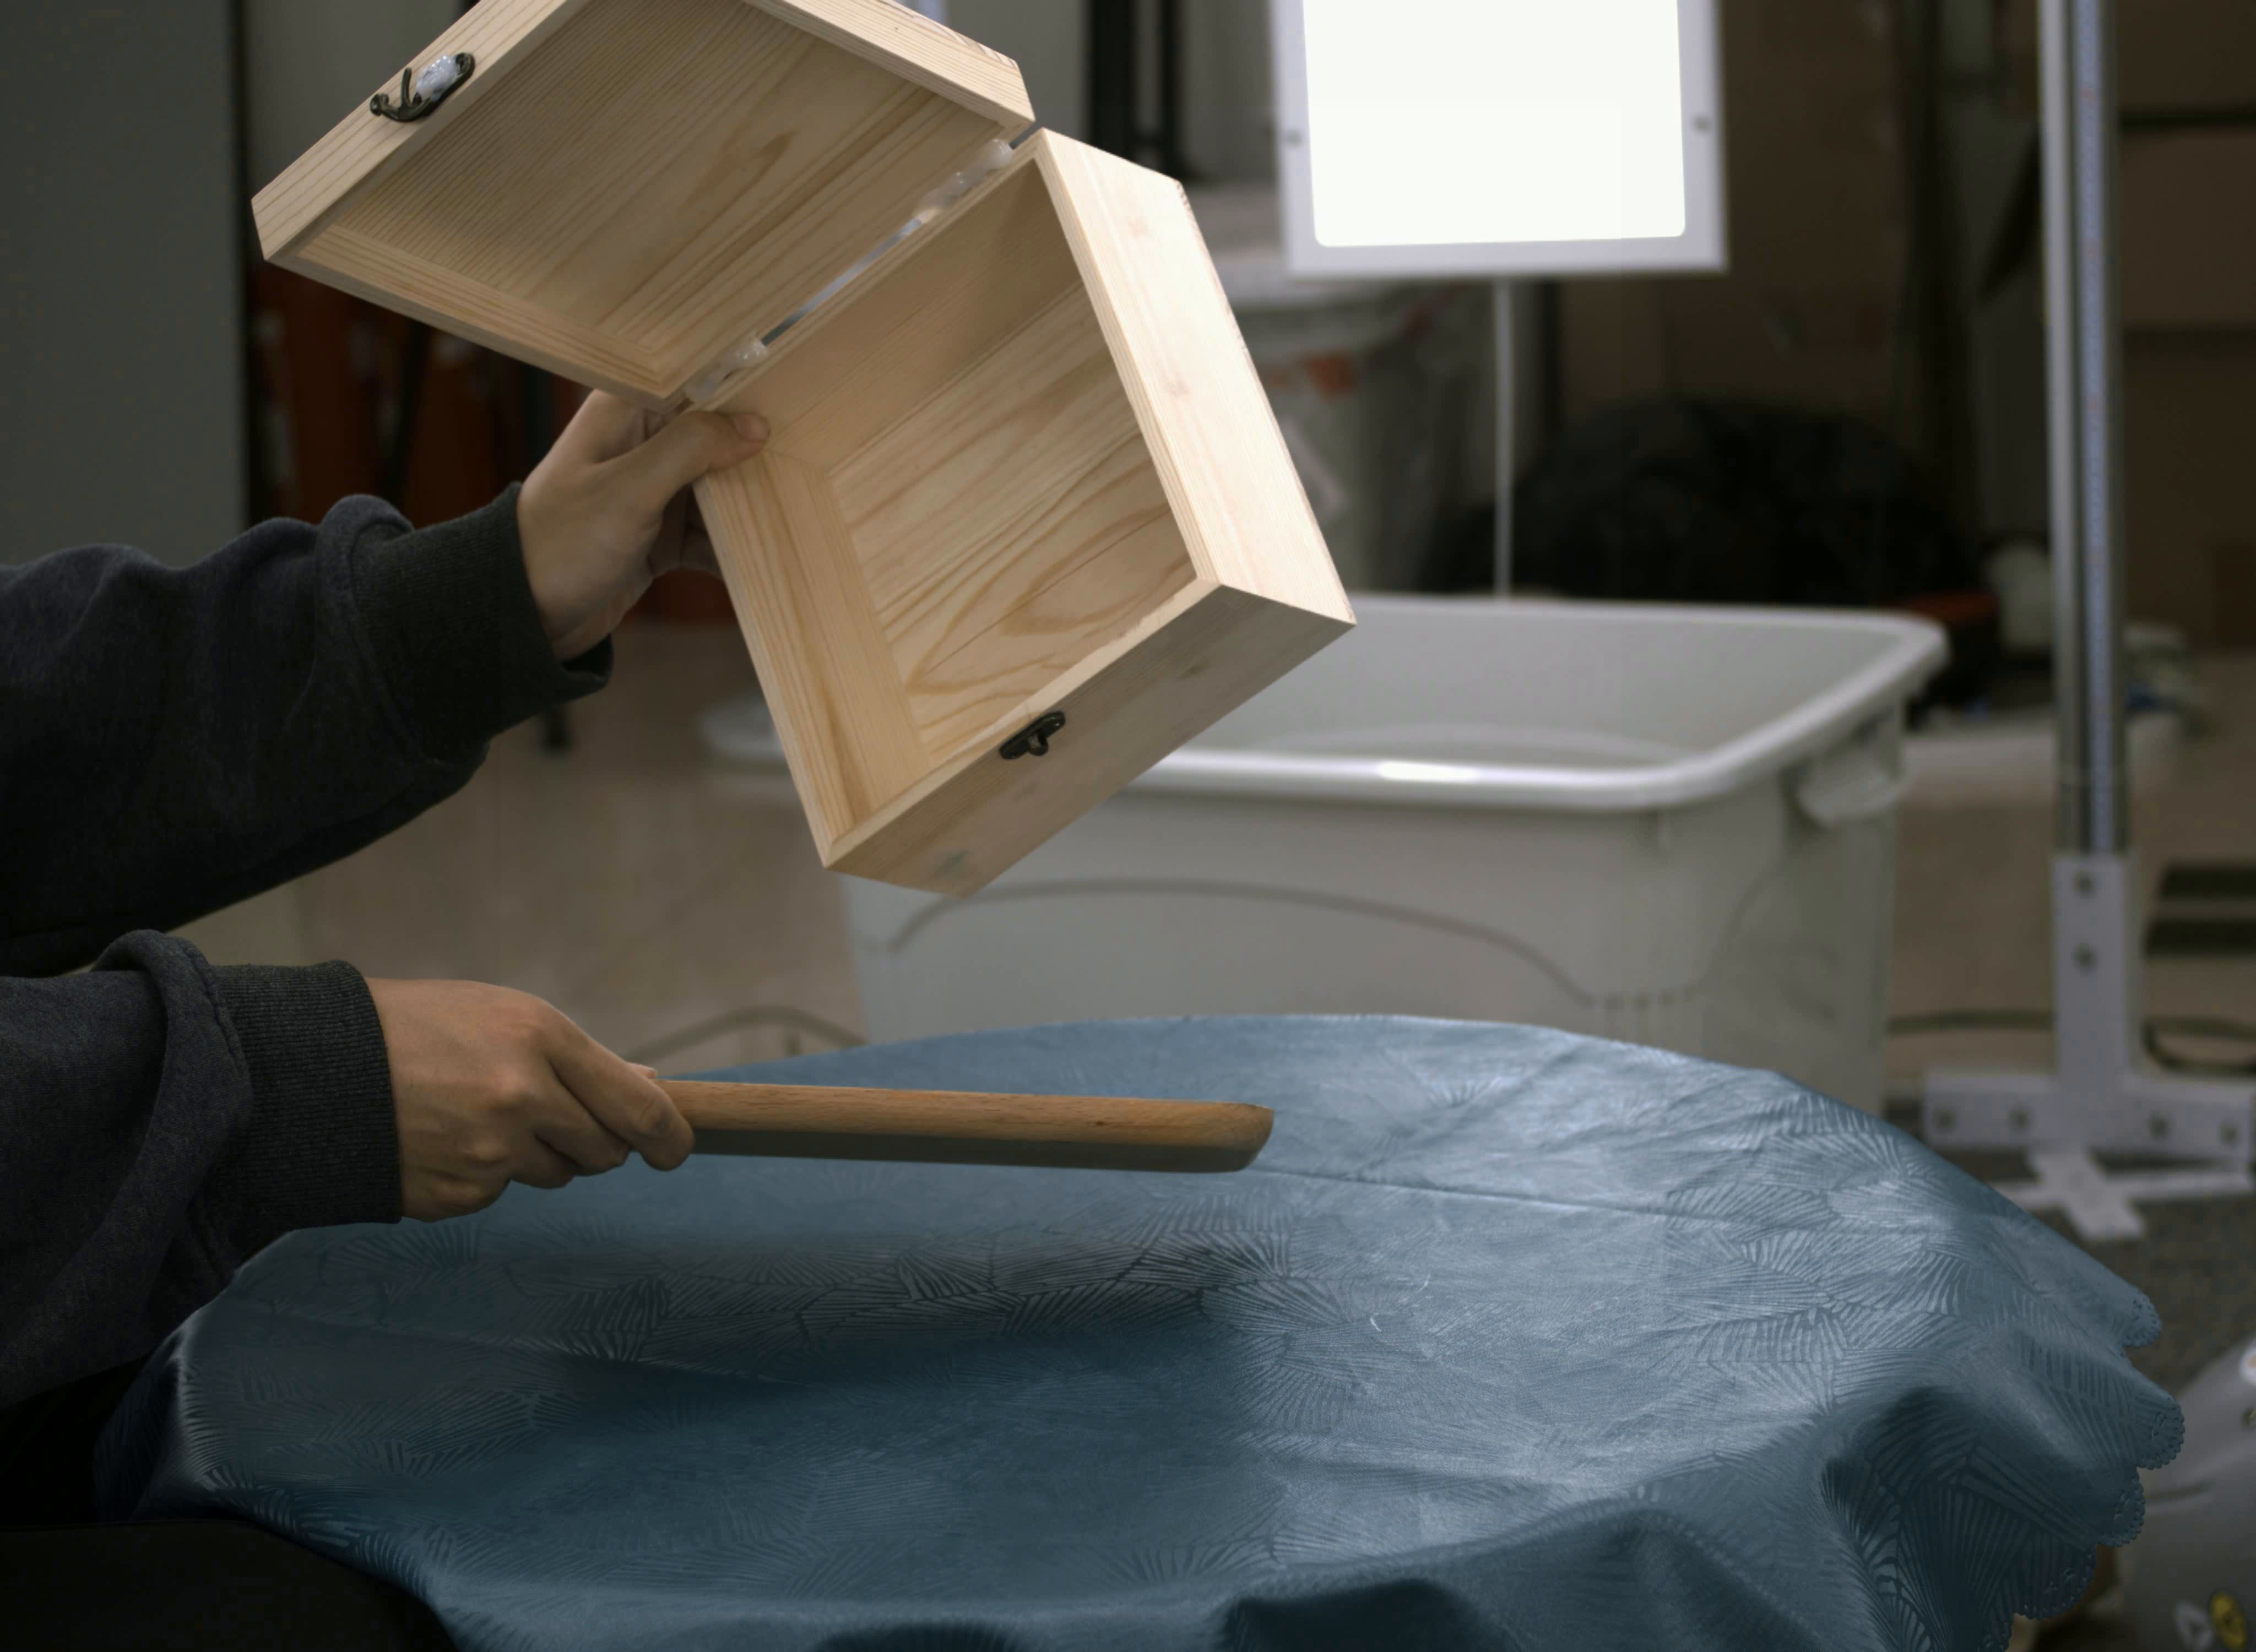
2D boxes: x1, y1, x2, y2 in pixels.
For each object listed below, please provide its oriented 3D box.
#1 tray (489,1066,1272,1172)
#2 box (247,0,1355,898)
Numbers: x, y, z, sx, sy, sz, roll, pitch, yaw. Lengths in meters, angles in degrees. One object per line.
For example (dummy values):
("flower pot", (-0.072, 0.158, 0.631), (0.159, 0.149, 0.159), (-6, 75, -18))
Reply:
("tray", (-0.079, 0.096, 1.784), (0.250, 0.023, 0.130), (2, -11, 1))
("box", (-0.105, -0.147, 1.773), (0.185, 0.266, 0.247), (-36, -30, 27))
